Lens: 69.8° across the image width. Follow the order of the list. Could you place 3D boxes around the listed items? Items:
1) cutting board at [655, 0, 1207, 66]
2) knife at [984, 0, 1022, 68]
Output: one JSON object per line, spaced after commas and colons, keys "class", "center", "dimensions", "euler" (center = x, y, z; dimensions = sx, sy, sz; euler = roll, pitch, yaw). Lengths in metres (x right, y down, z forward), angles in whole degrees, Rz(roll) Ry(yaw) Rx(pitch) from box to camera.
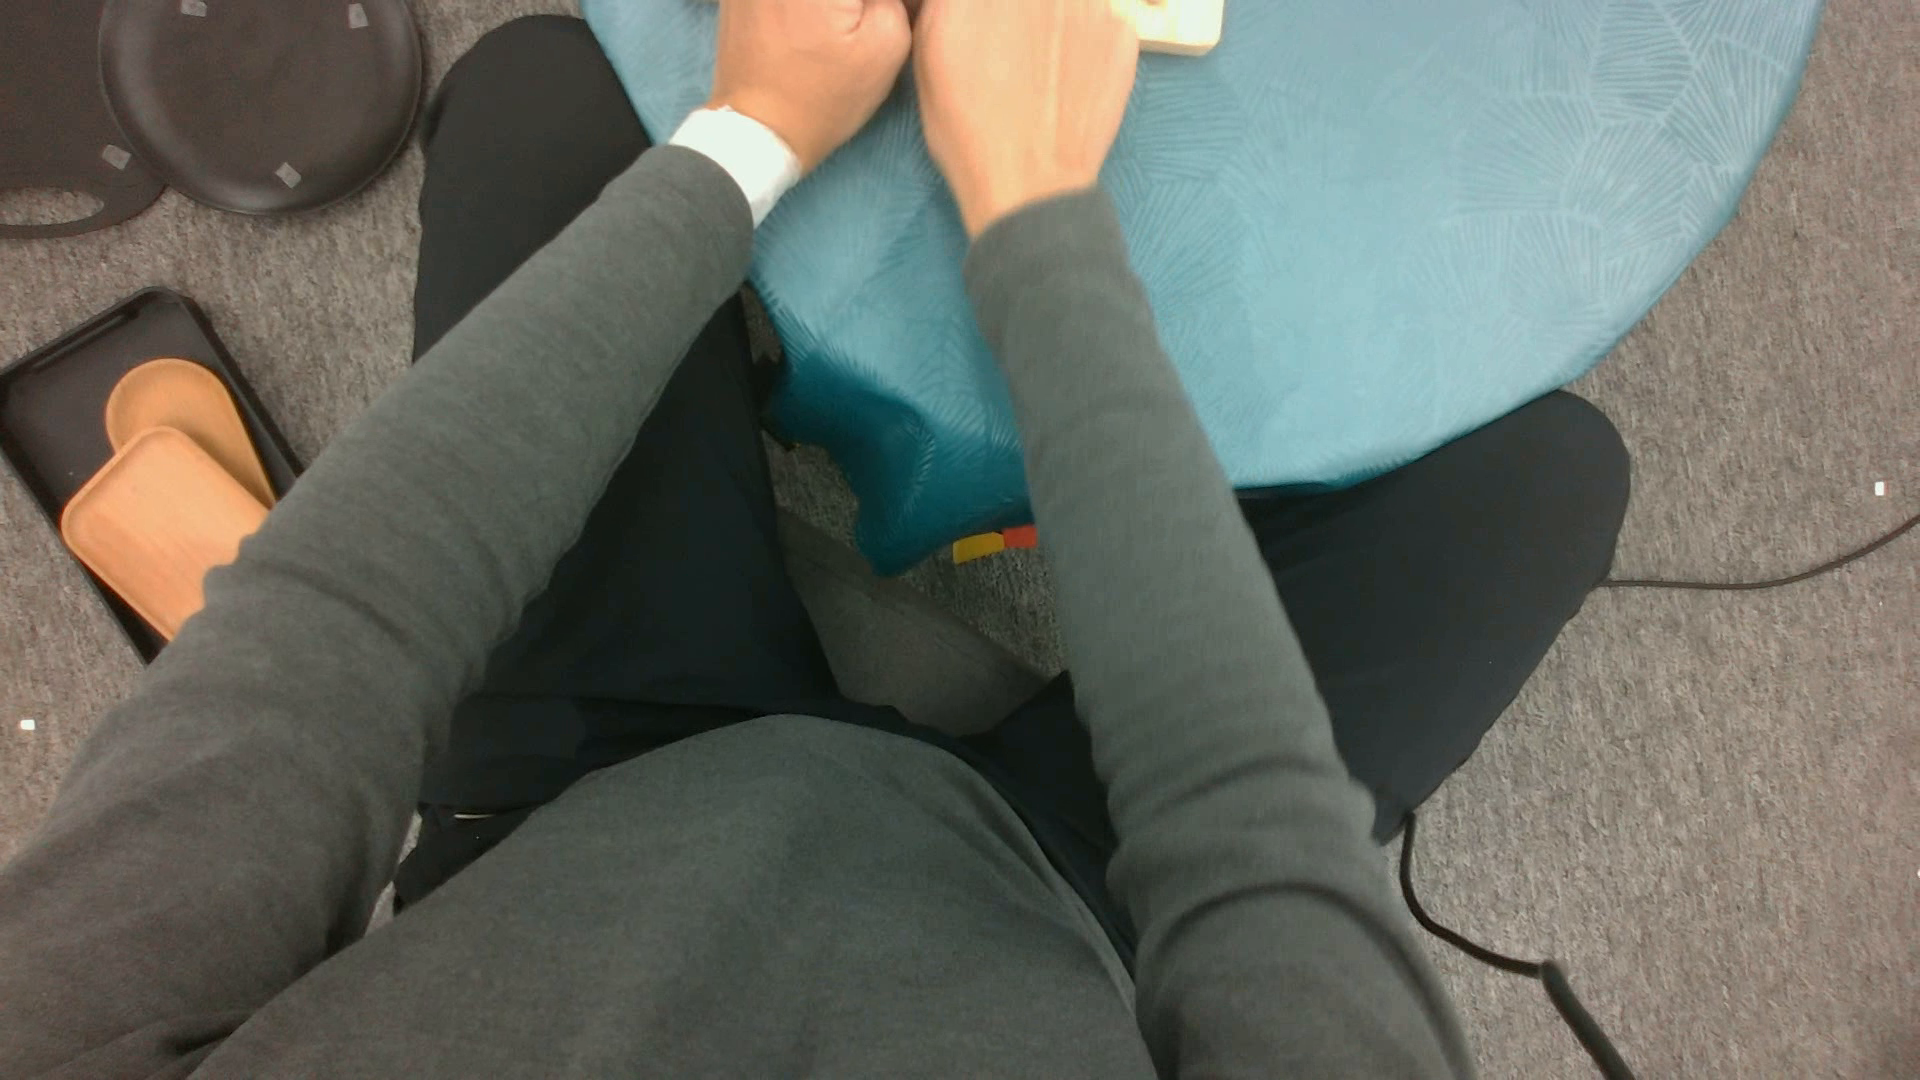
{"class": "cutting board", "center": [0.002, -0.396, 0.599], "dimensions": [0.251, 0.023, 0.348], "euler": [3, 94, -6]}
{"class": "knife", "center": [0.024, -0.319, 0.580], "dimensions": [0.016, 0.024, 0.238], "euler": [4, 88, -3]}
